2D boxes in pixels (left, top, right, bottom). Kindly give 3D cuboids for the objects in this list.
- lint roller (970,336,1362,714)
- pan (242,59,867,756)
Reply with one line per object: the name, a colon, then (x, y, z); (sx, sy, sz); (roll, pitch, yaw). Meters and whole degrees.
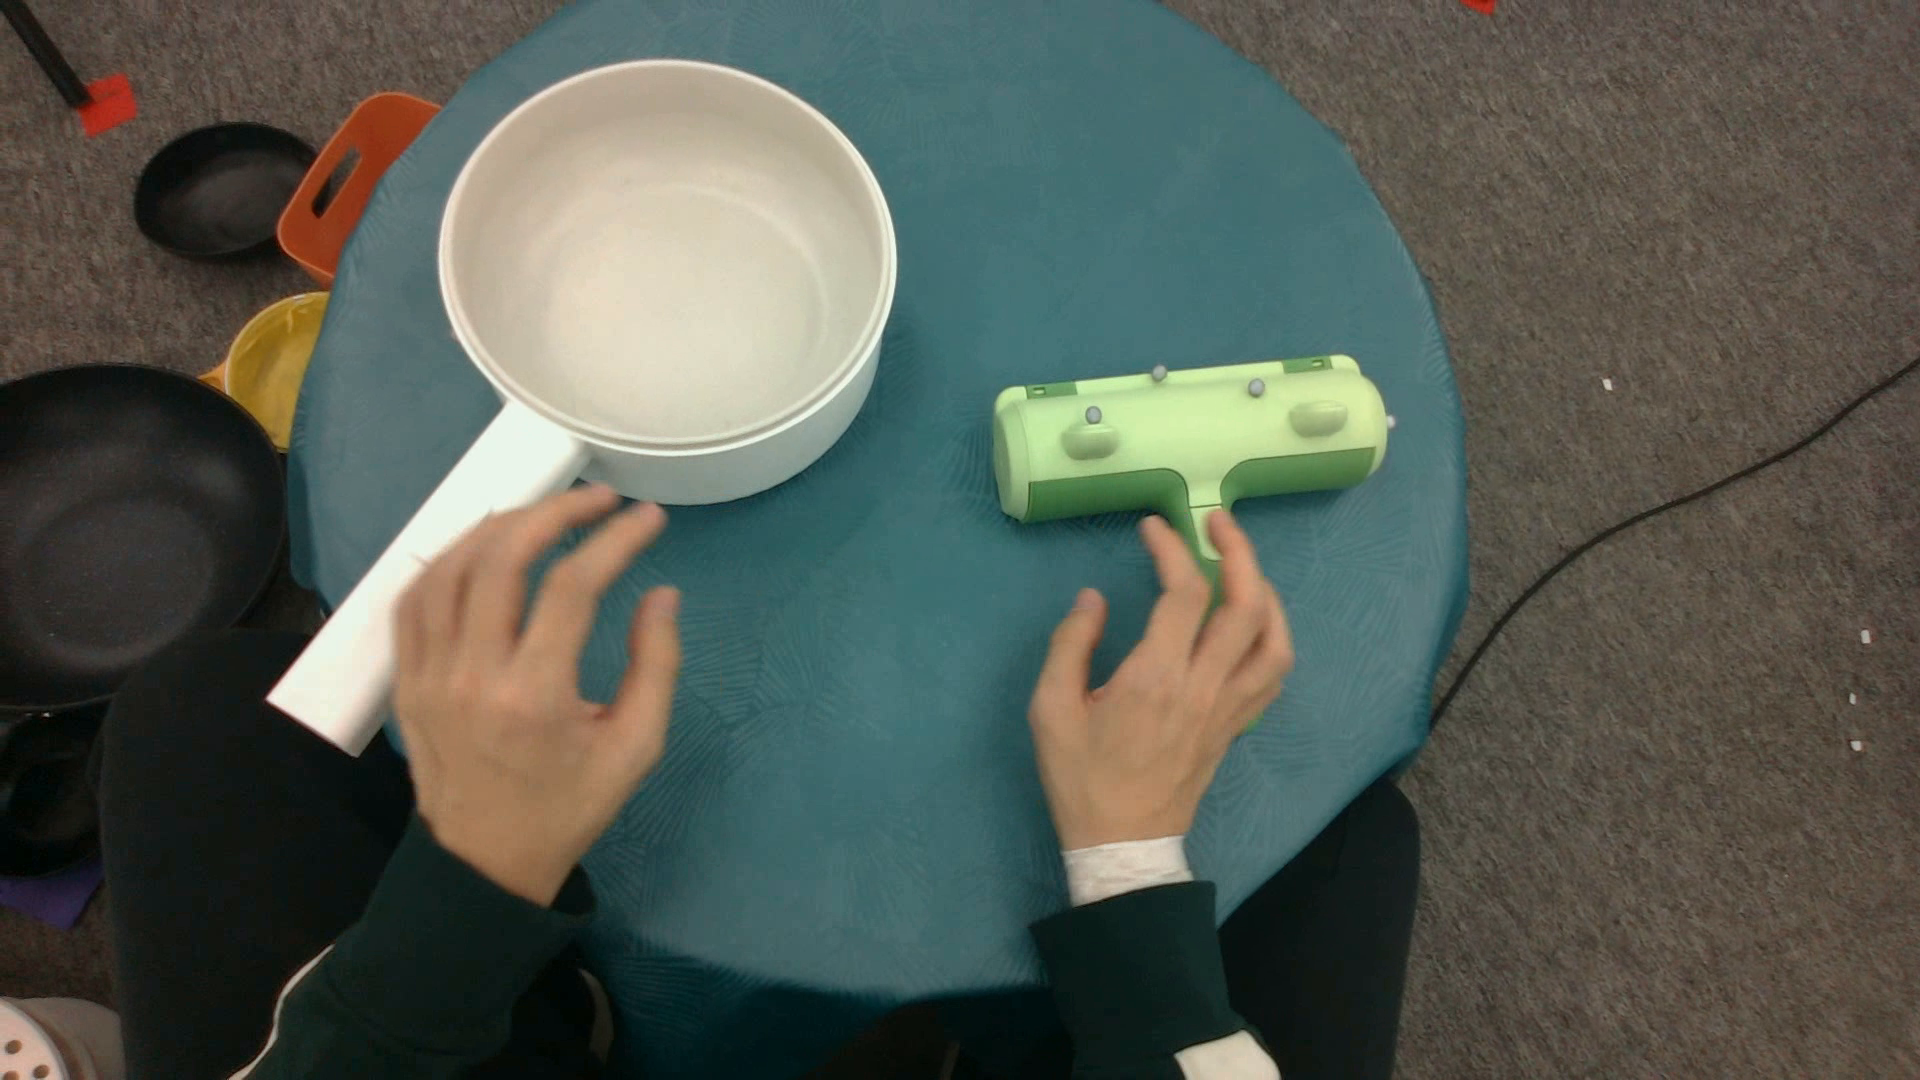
lint roller: (0.115, -0.012, 0.671); (0.199, 0.082, 0.184); (-7, 66, -10)
pan: (-0.184, -0.056, 0.638); (0.201, 0.102, 0.356); (30, 70, 3)
